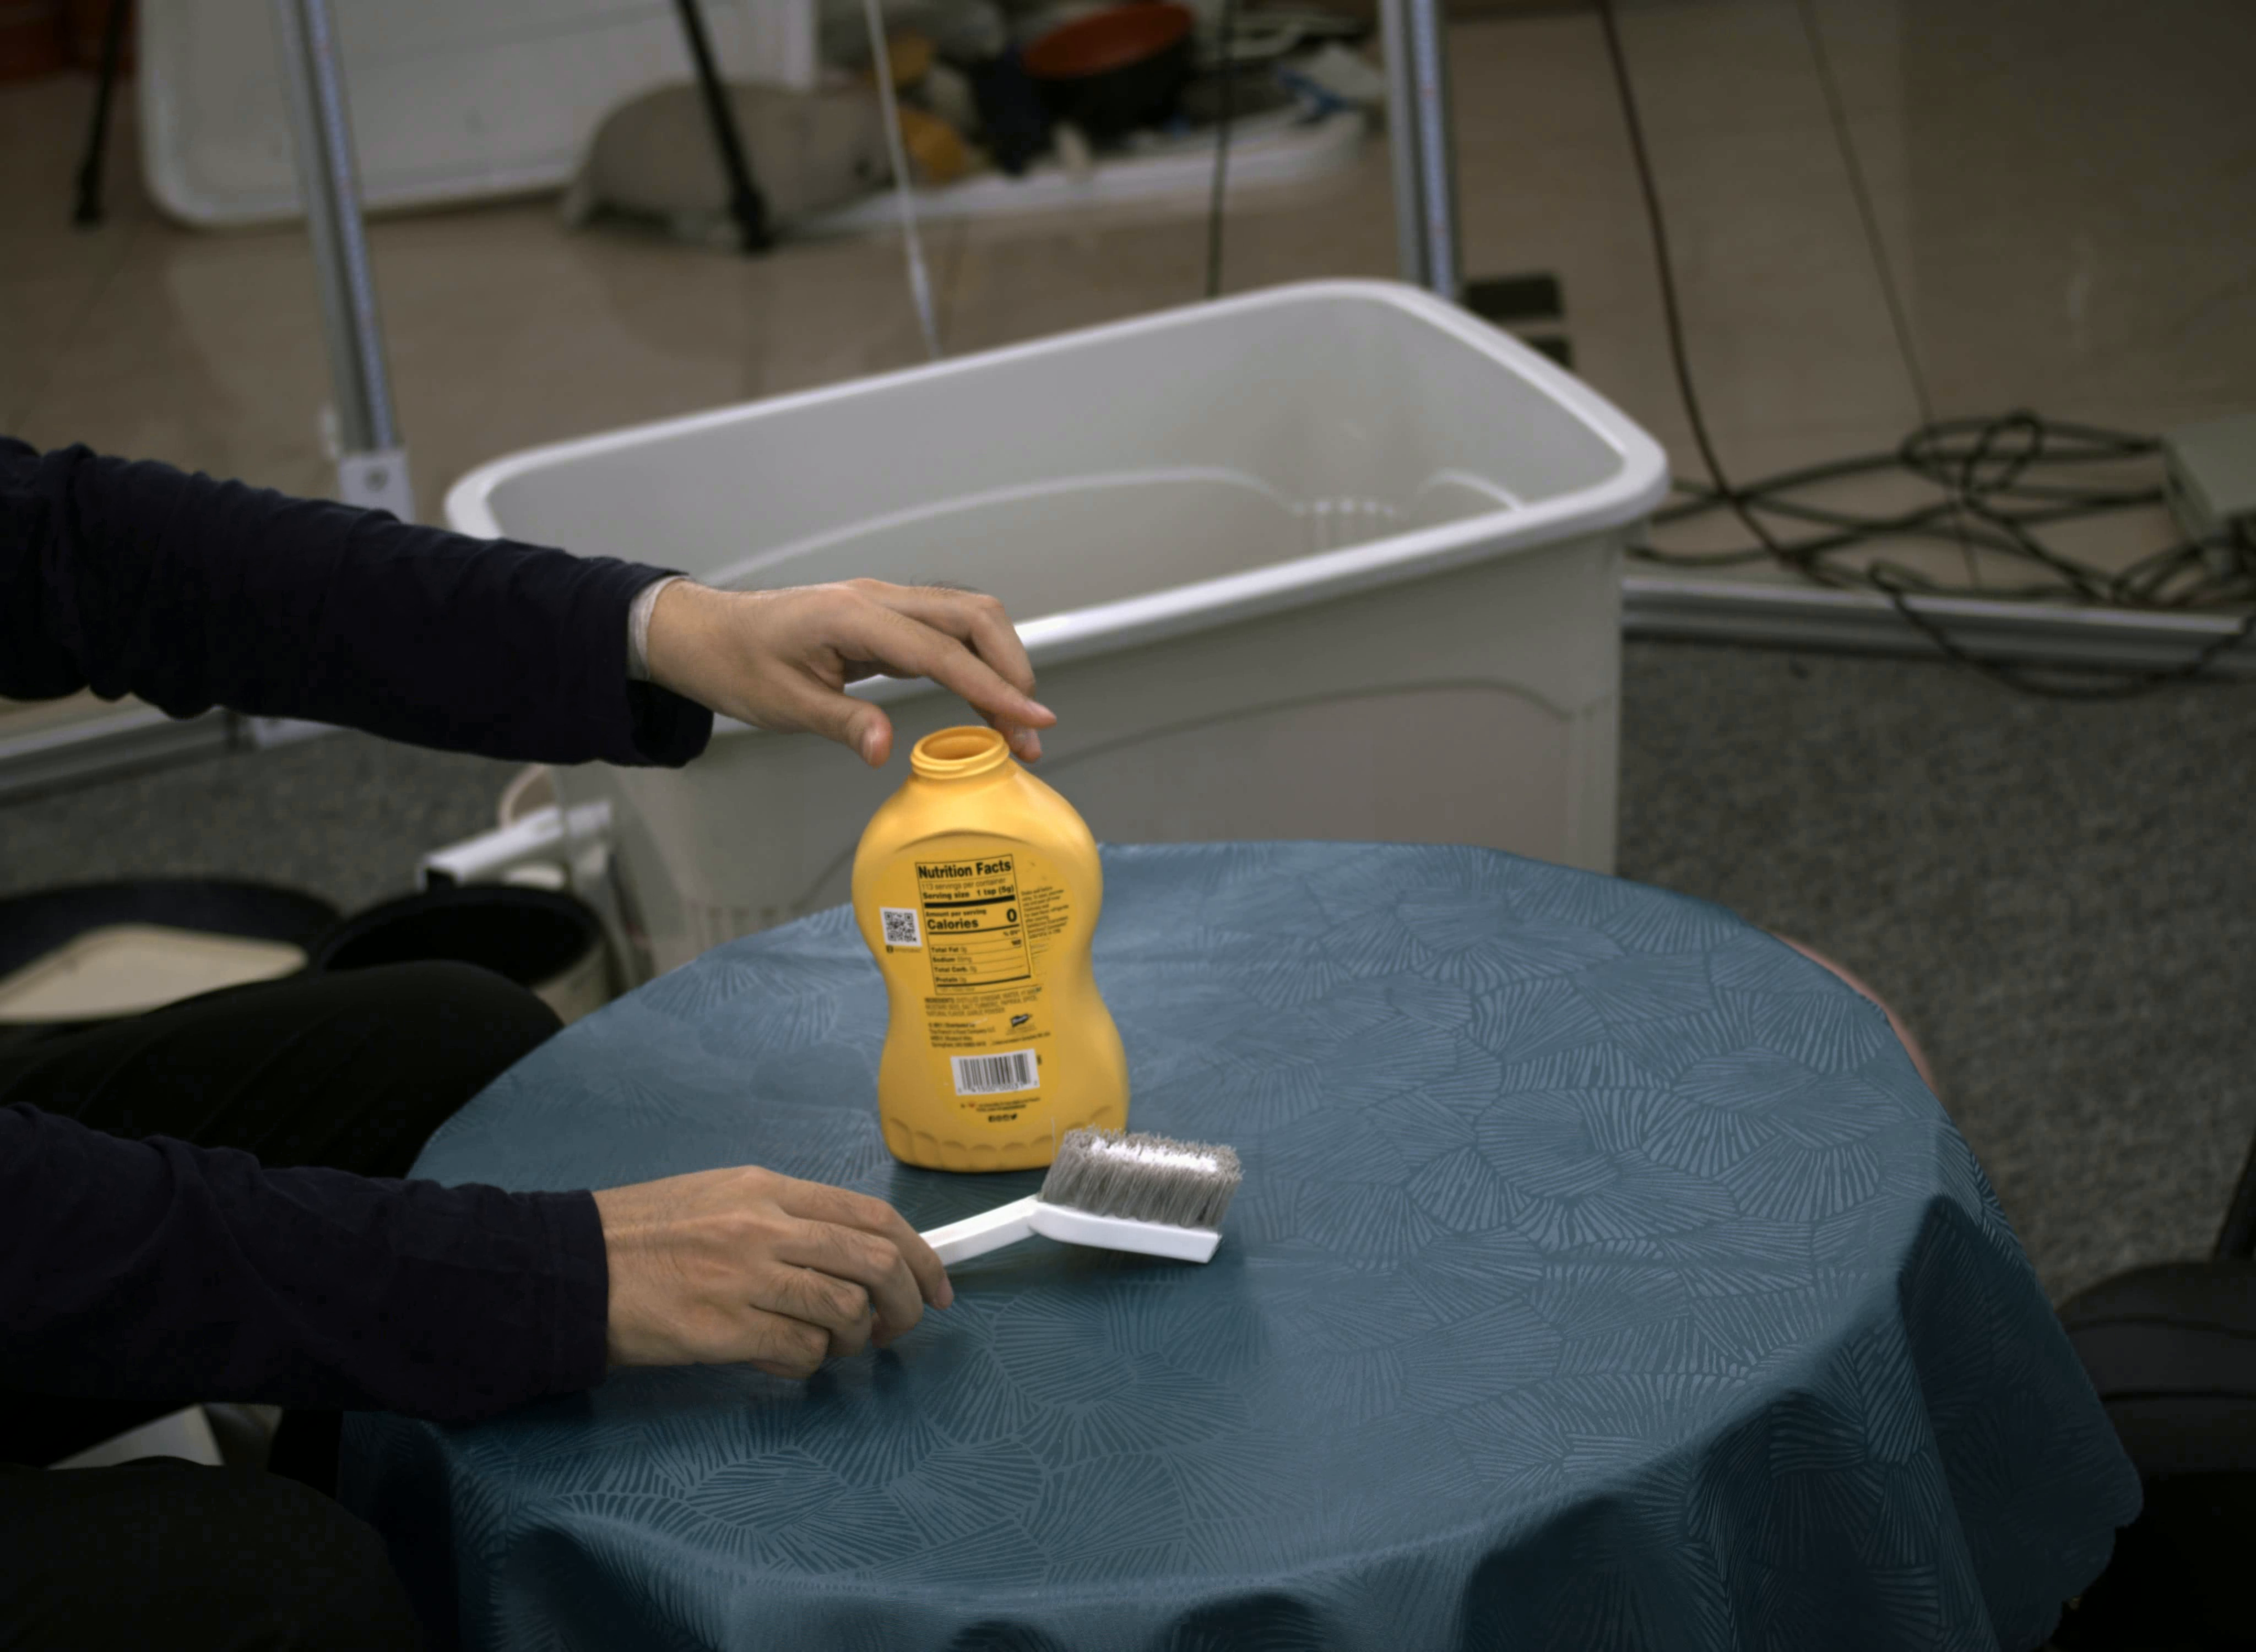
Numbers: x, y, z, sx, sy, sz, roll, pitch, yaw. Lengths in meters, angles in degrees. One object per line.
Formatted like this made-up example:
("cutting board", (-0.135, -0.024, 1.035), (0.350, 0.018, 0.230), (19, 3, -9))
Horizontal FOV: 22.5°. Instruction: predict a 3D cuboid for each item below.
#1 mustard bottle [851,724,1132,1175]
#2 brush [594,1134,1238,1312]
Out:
("mustard bottle", (-0.055, 0.046, 2.156), (0.098, 0.174, 0.058), (-7, 23, 3))
("brush", (-0.079, 0.146, 2.096), (0.243, 0.051, 0.034), (-5, 30, 3))
